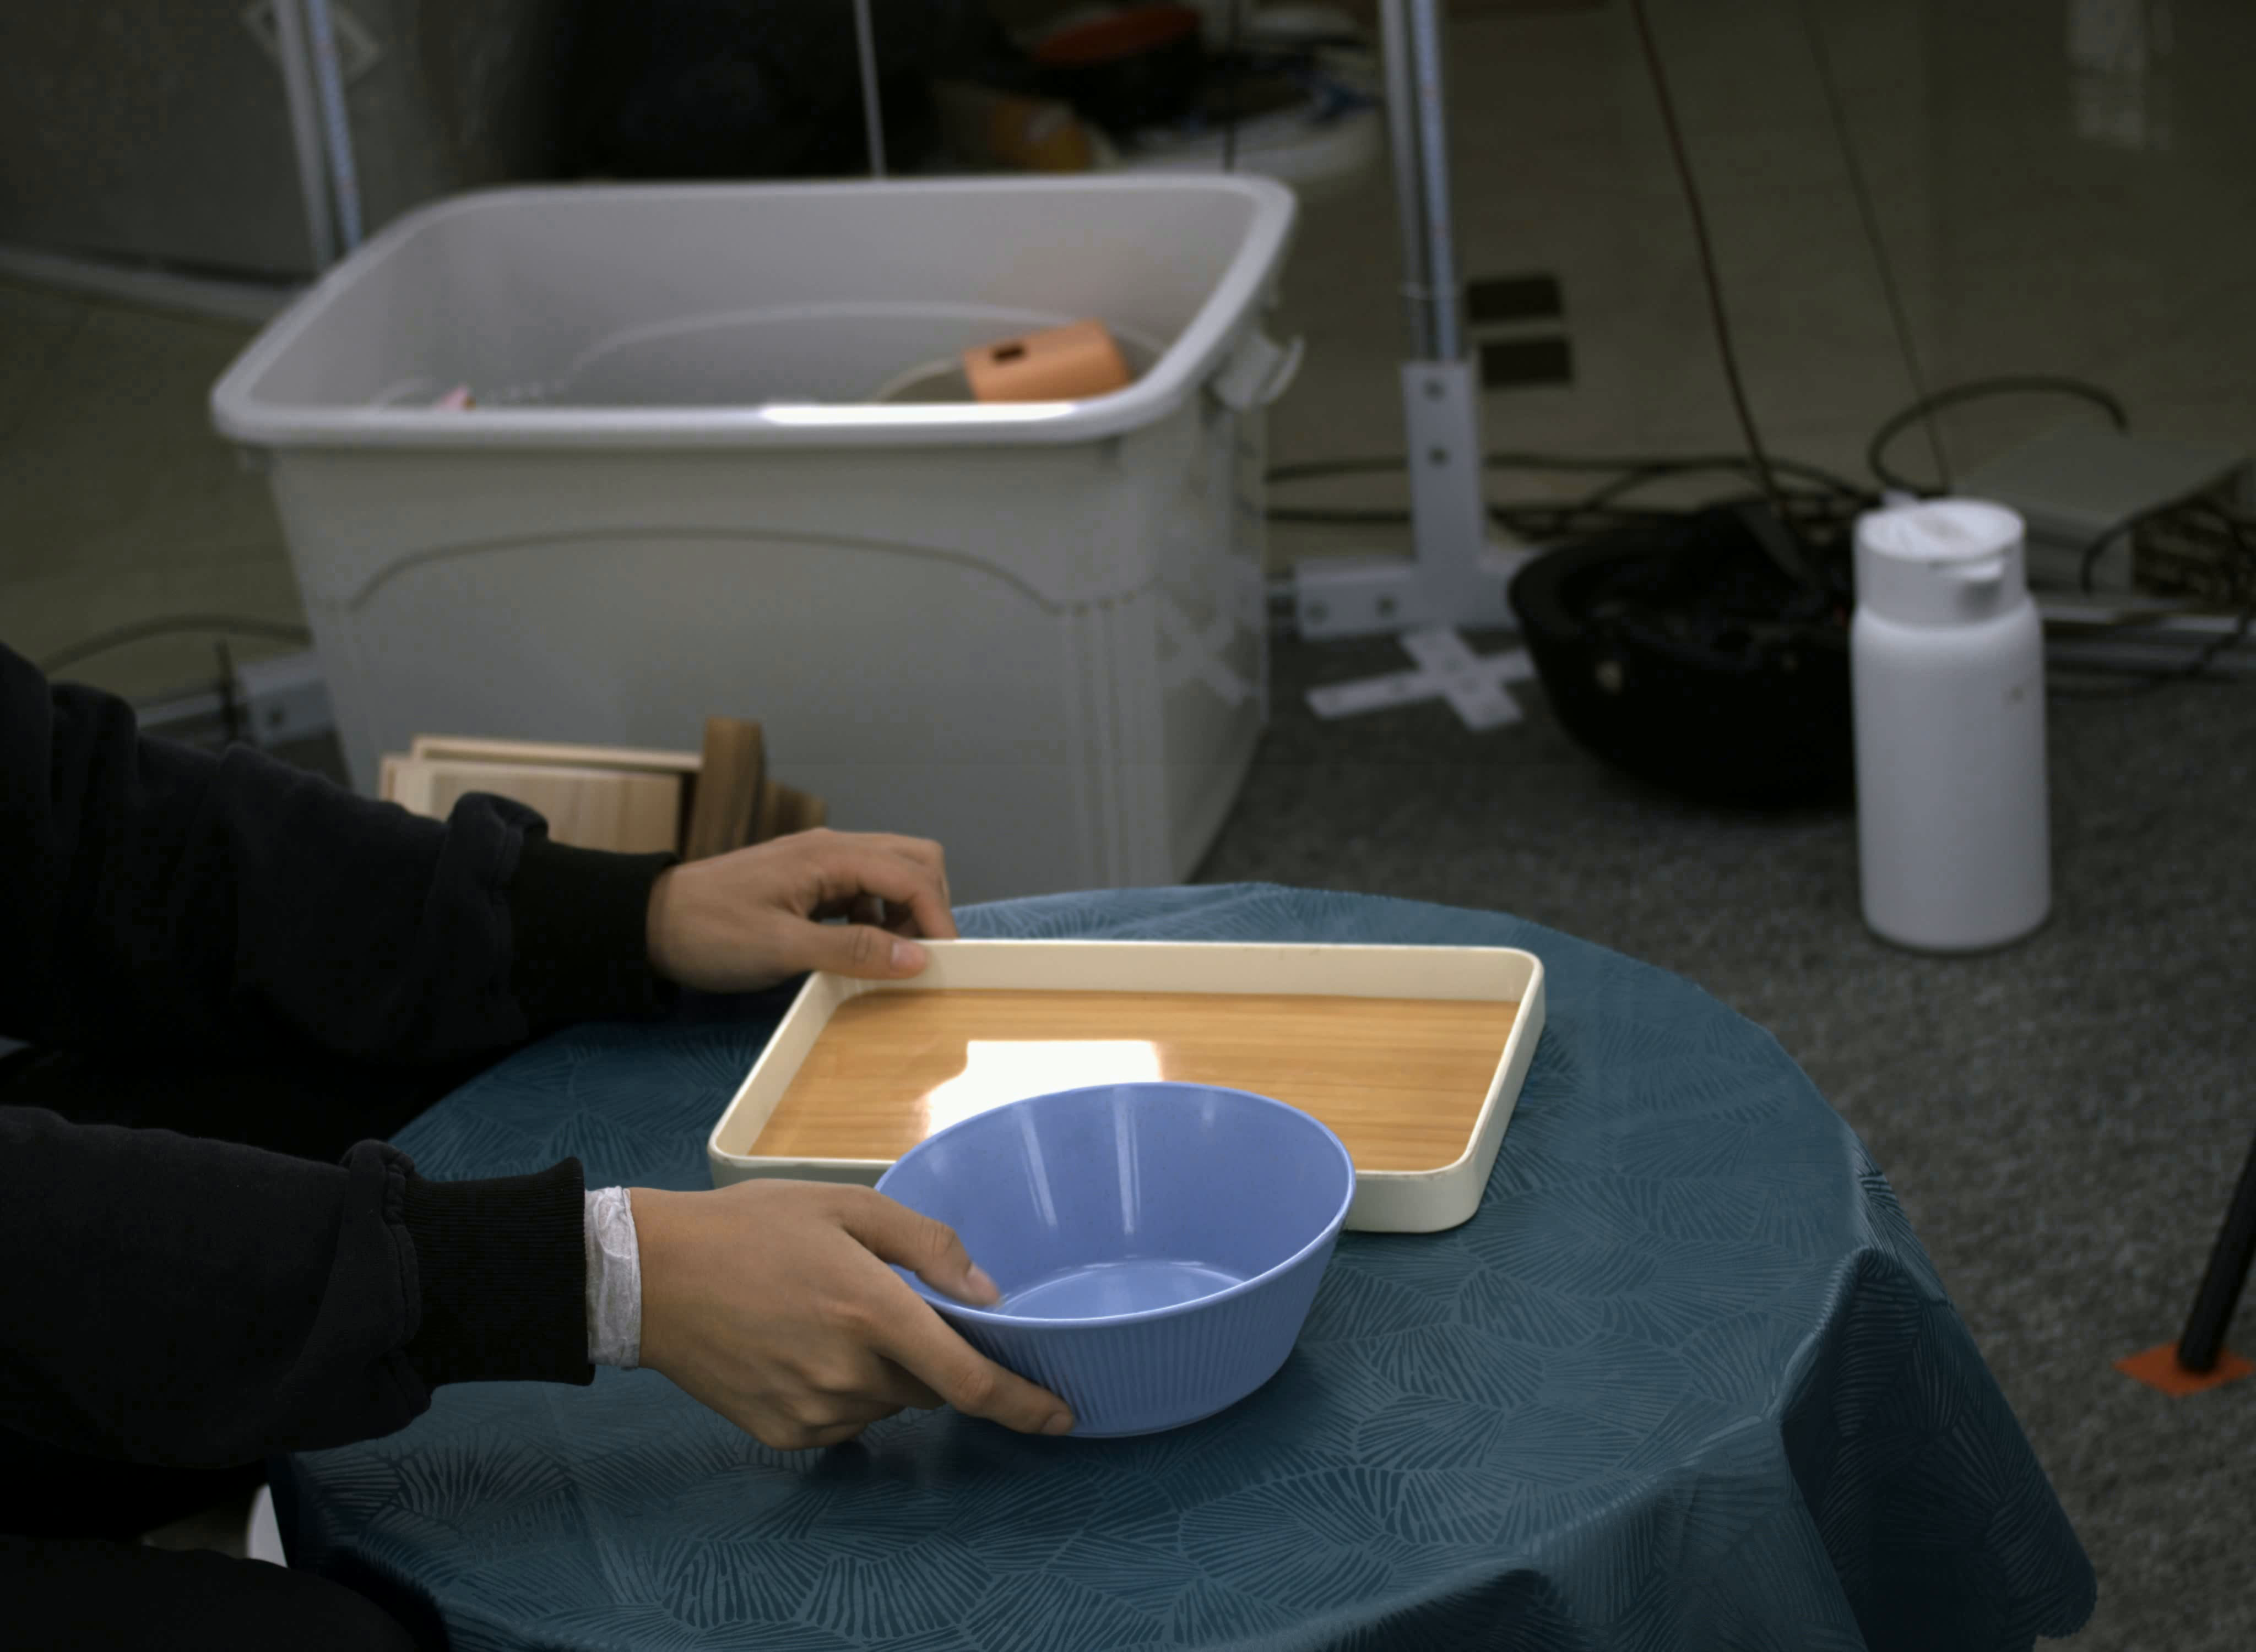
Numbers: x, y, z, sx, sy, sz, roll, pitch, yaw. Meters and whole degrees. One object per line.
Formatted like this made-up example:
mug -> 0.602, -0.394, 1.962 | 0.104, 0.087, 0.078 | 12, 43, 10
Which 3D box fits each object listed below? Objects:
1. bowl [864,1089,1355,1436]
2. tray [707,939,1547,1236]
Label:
bowl -> -0.003, 0.161, 2.021 | 0.176, 0.071, 0.173 | -5, 24, 3
tray -> 0.003, 0.100, 2.205 | 0.299, 0.028, 0.189 | 1, 26, 15
